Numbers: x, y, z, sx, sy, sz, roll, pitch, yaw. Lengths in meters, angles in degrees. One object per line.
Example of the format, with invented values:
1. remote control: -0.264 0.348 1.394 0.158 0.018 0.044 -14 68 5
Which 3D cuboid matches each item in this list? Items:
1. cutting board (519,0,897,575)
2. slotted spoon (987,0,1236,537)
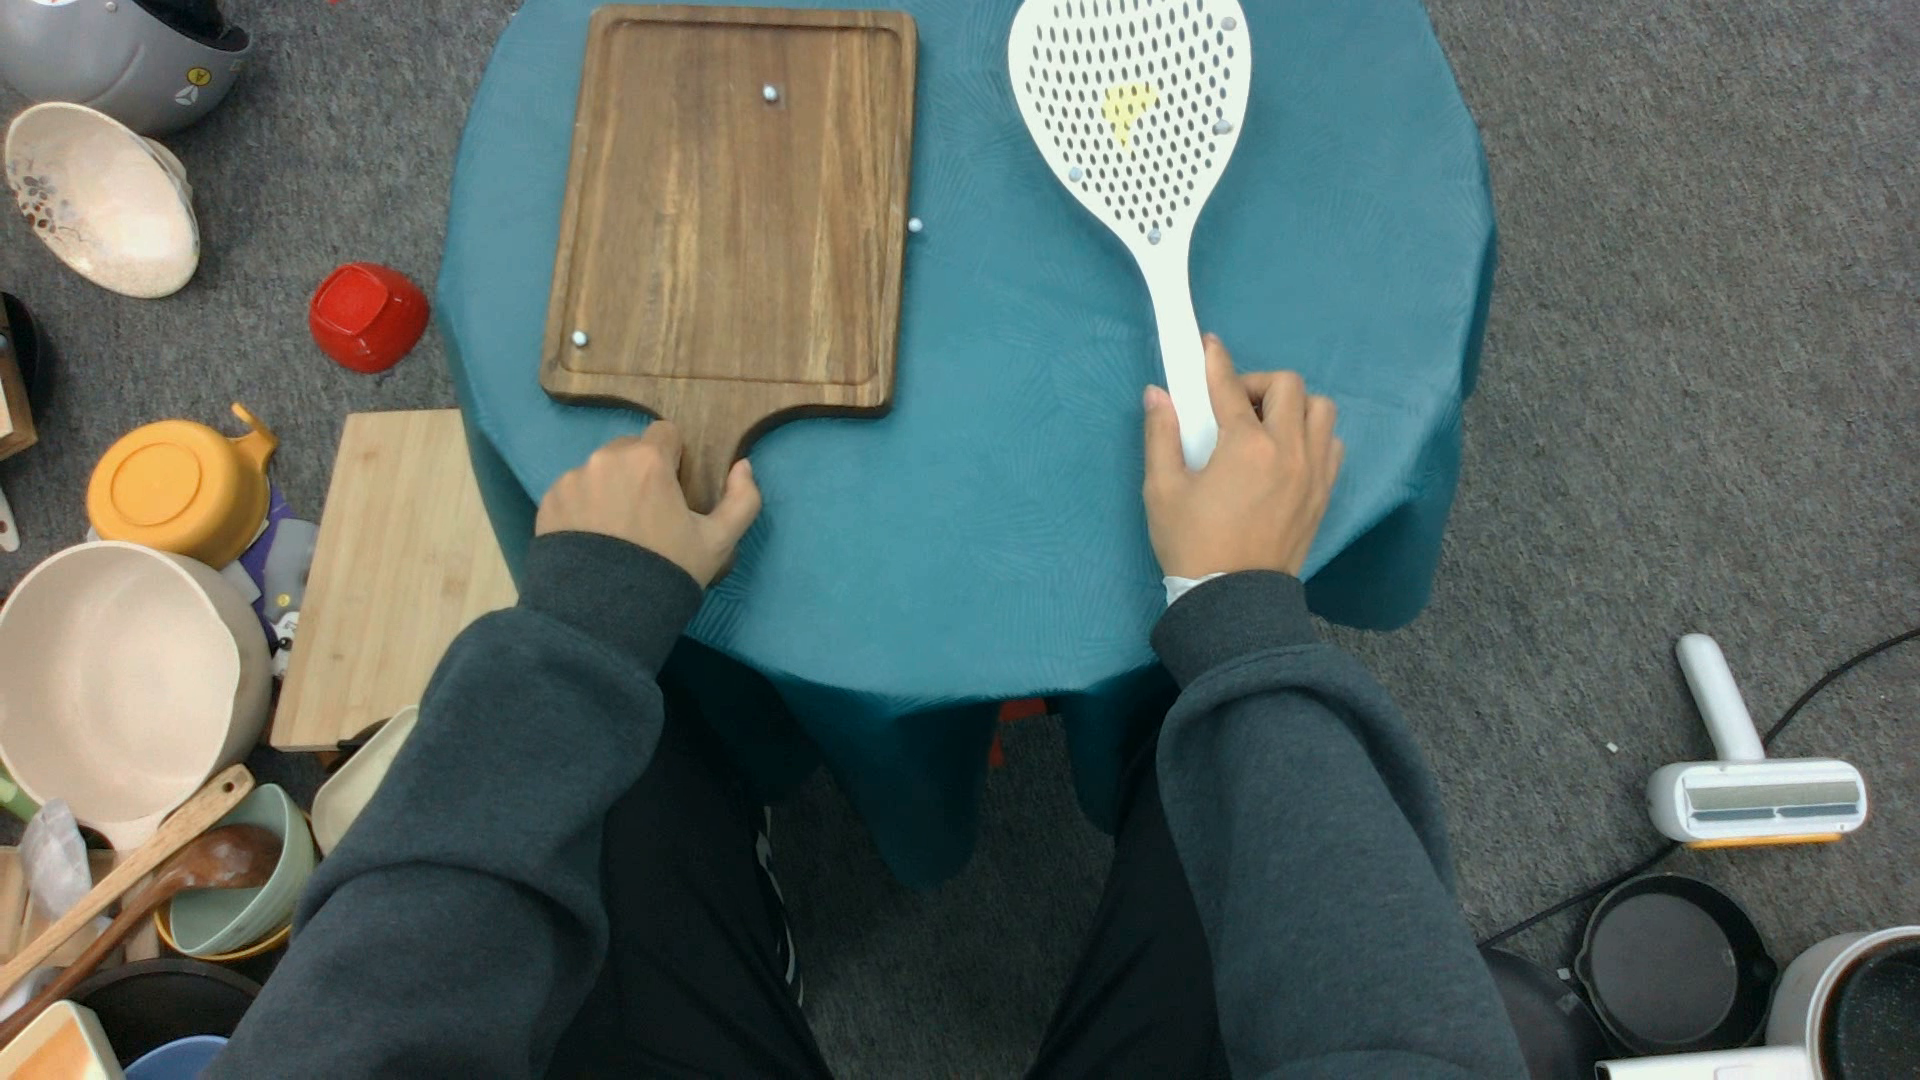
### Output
1. cutting board: -0.142 -0.152 0.776 0.201 0.023 0.353 2 74 2
2. slotted spoon: 0.104 -0.172 0.765 0.137 0.050 0.348 -10 74 0
